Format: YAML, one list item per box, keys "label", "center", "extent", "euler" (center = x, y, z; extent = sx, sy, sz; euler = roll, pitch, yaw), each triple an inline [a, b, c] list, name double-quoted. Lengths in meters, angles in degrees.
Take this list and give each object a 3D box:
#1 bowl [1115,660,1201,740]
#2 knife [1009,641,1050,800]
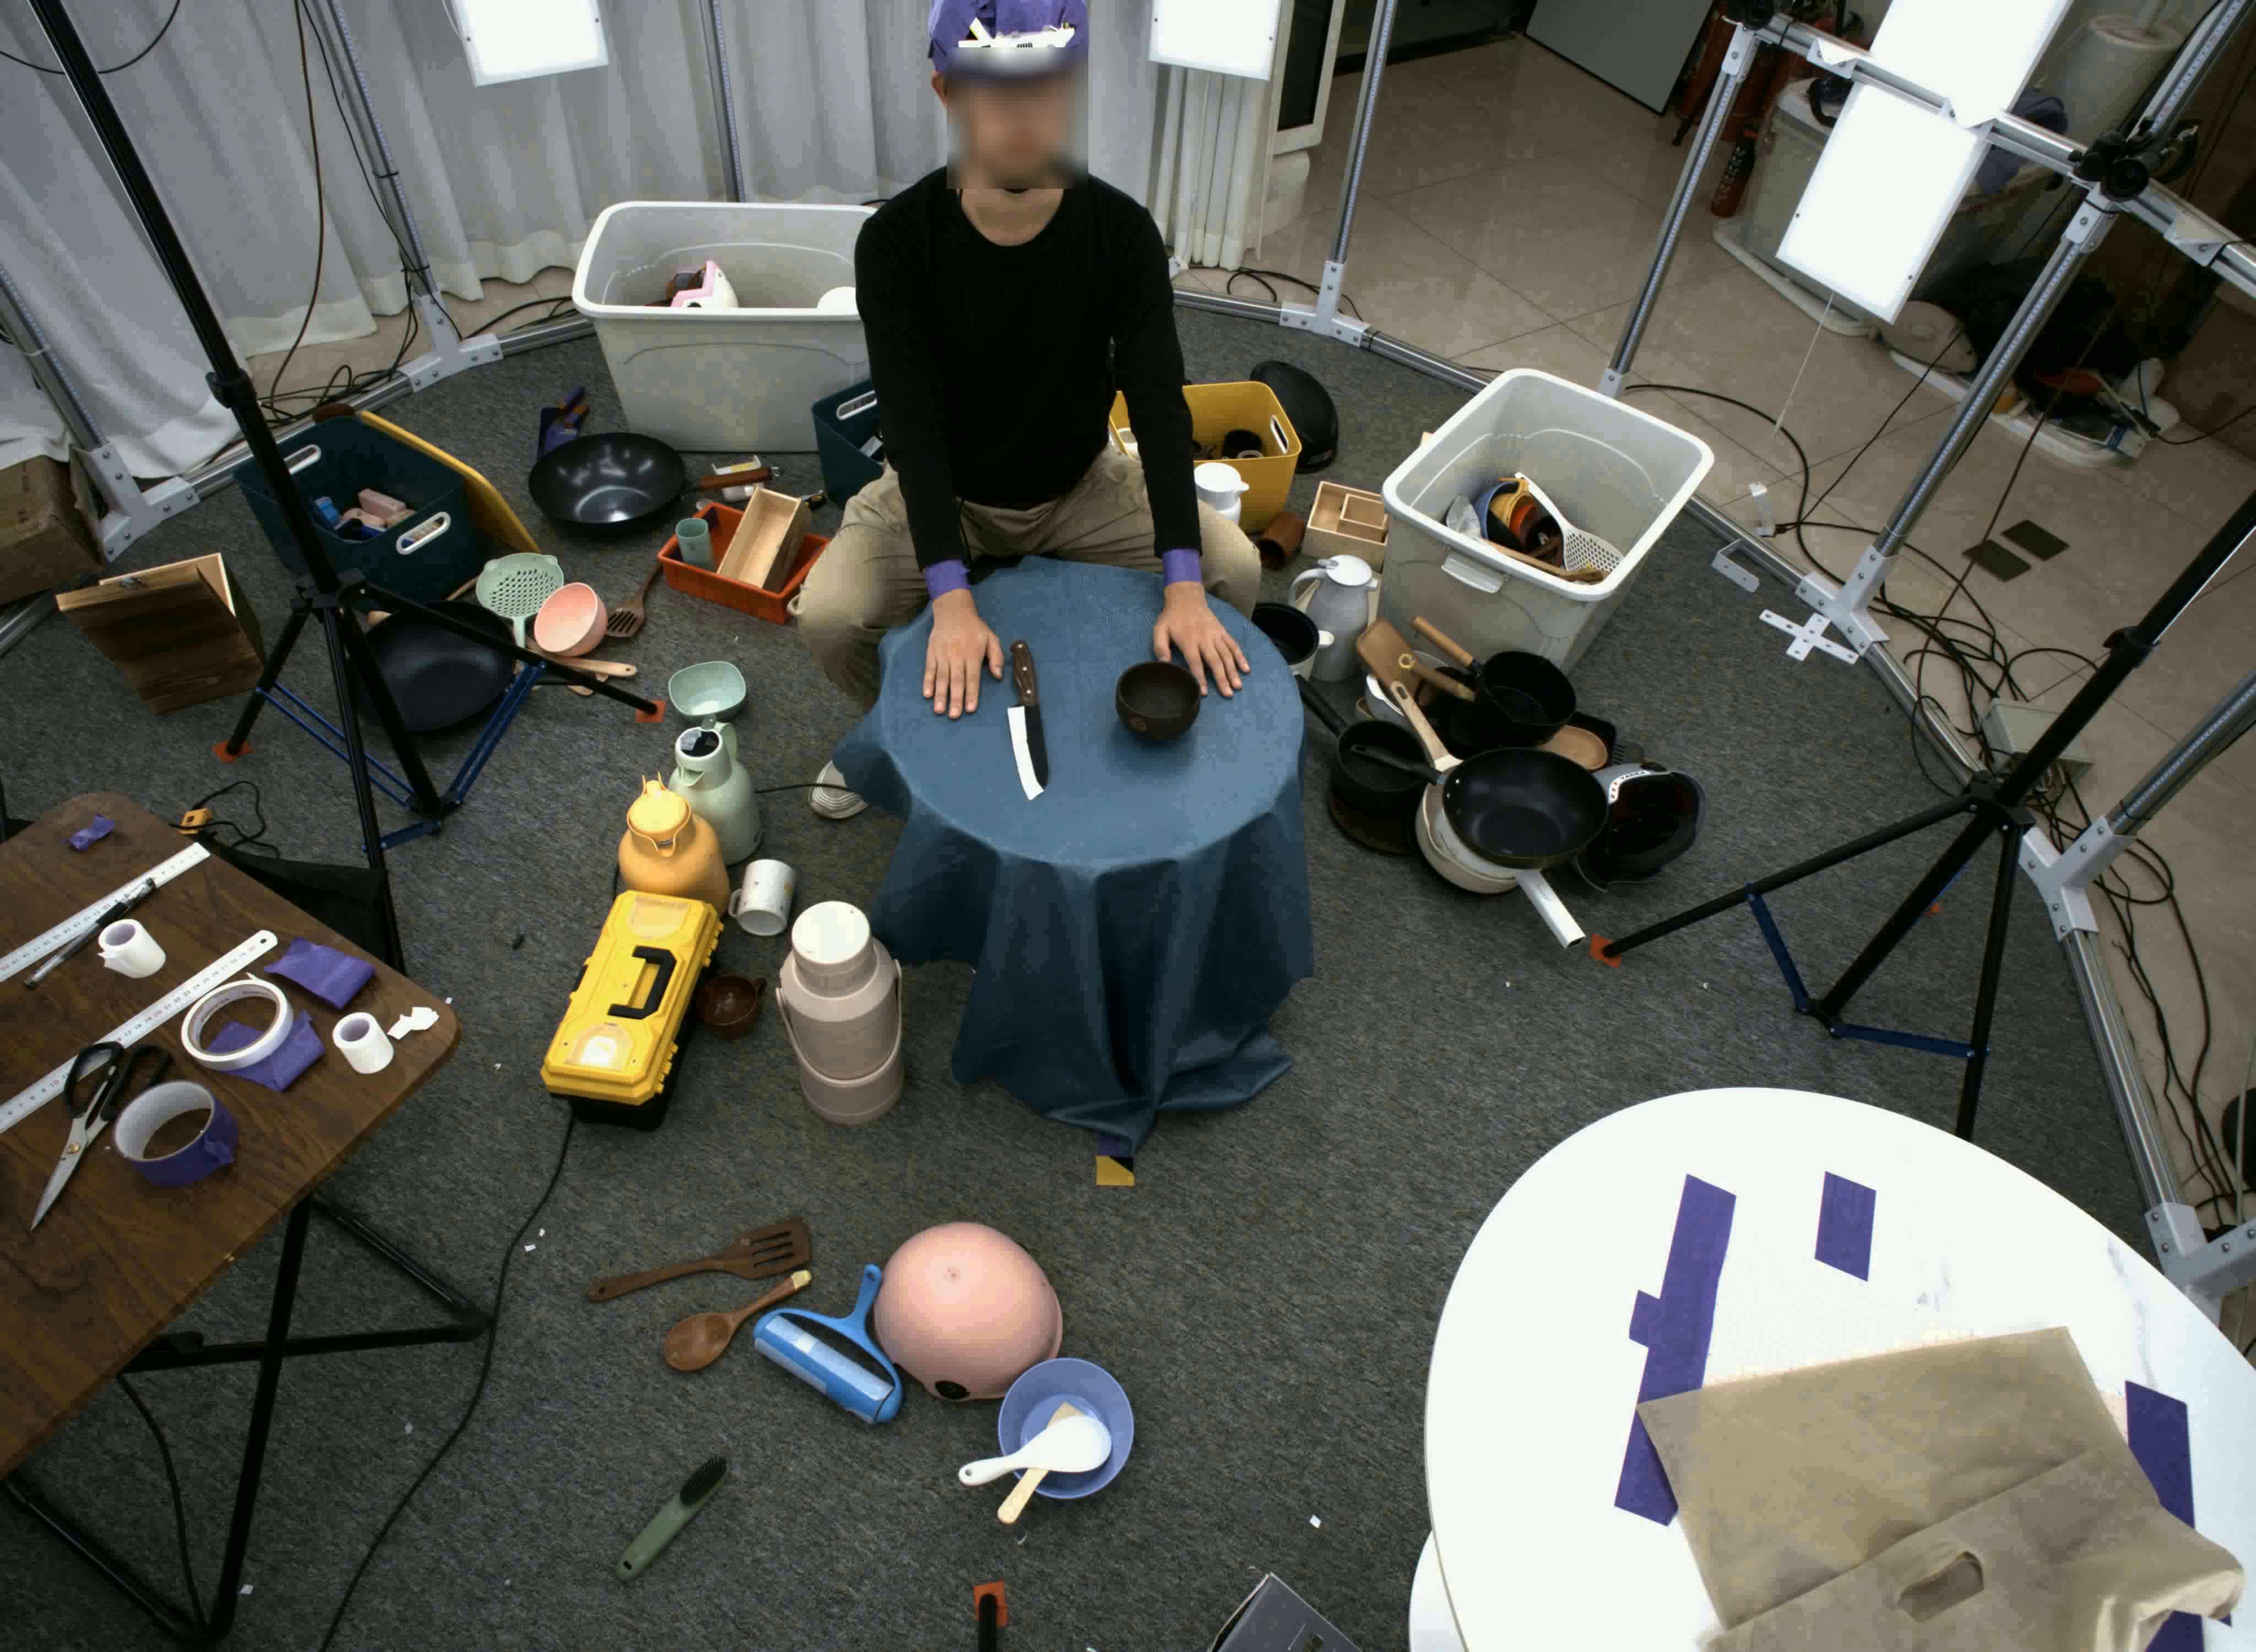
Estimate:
- label: "bowl"
  center: [0.041, -0.166, 1.770]
  extent: [0.118, 0.068, 0.121]
  euler: [1, 48, -1]
- label: "knife"
  center: [-0.140, -0.150, 1.781]
  extent: [0.050, 0.019, 0.296]
  euler: [-6, 52, -3]
